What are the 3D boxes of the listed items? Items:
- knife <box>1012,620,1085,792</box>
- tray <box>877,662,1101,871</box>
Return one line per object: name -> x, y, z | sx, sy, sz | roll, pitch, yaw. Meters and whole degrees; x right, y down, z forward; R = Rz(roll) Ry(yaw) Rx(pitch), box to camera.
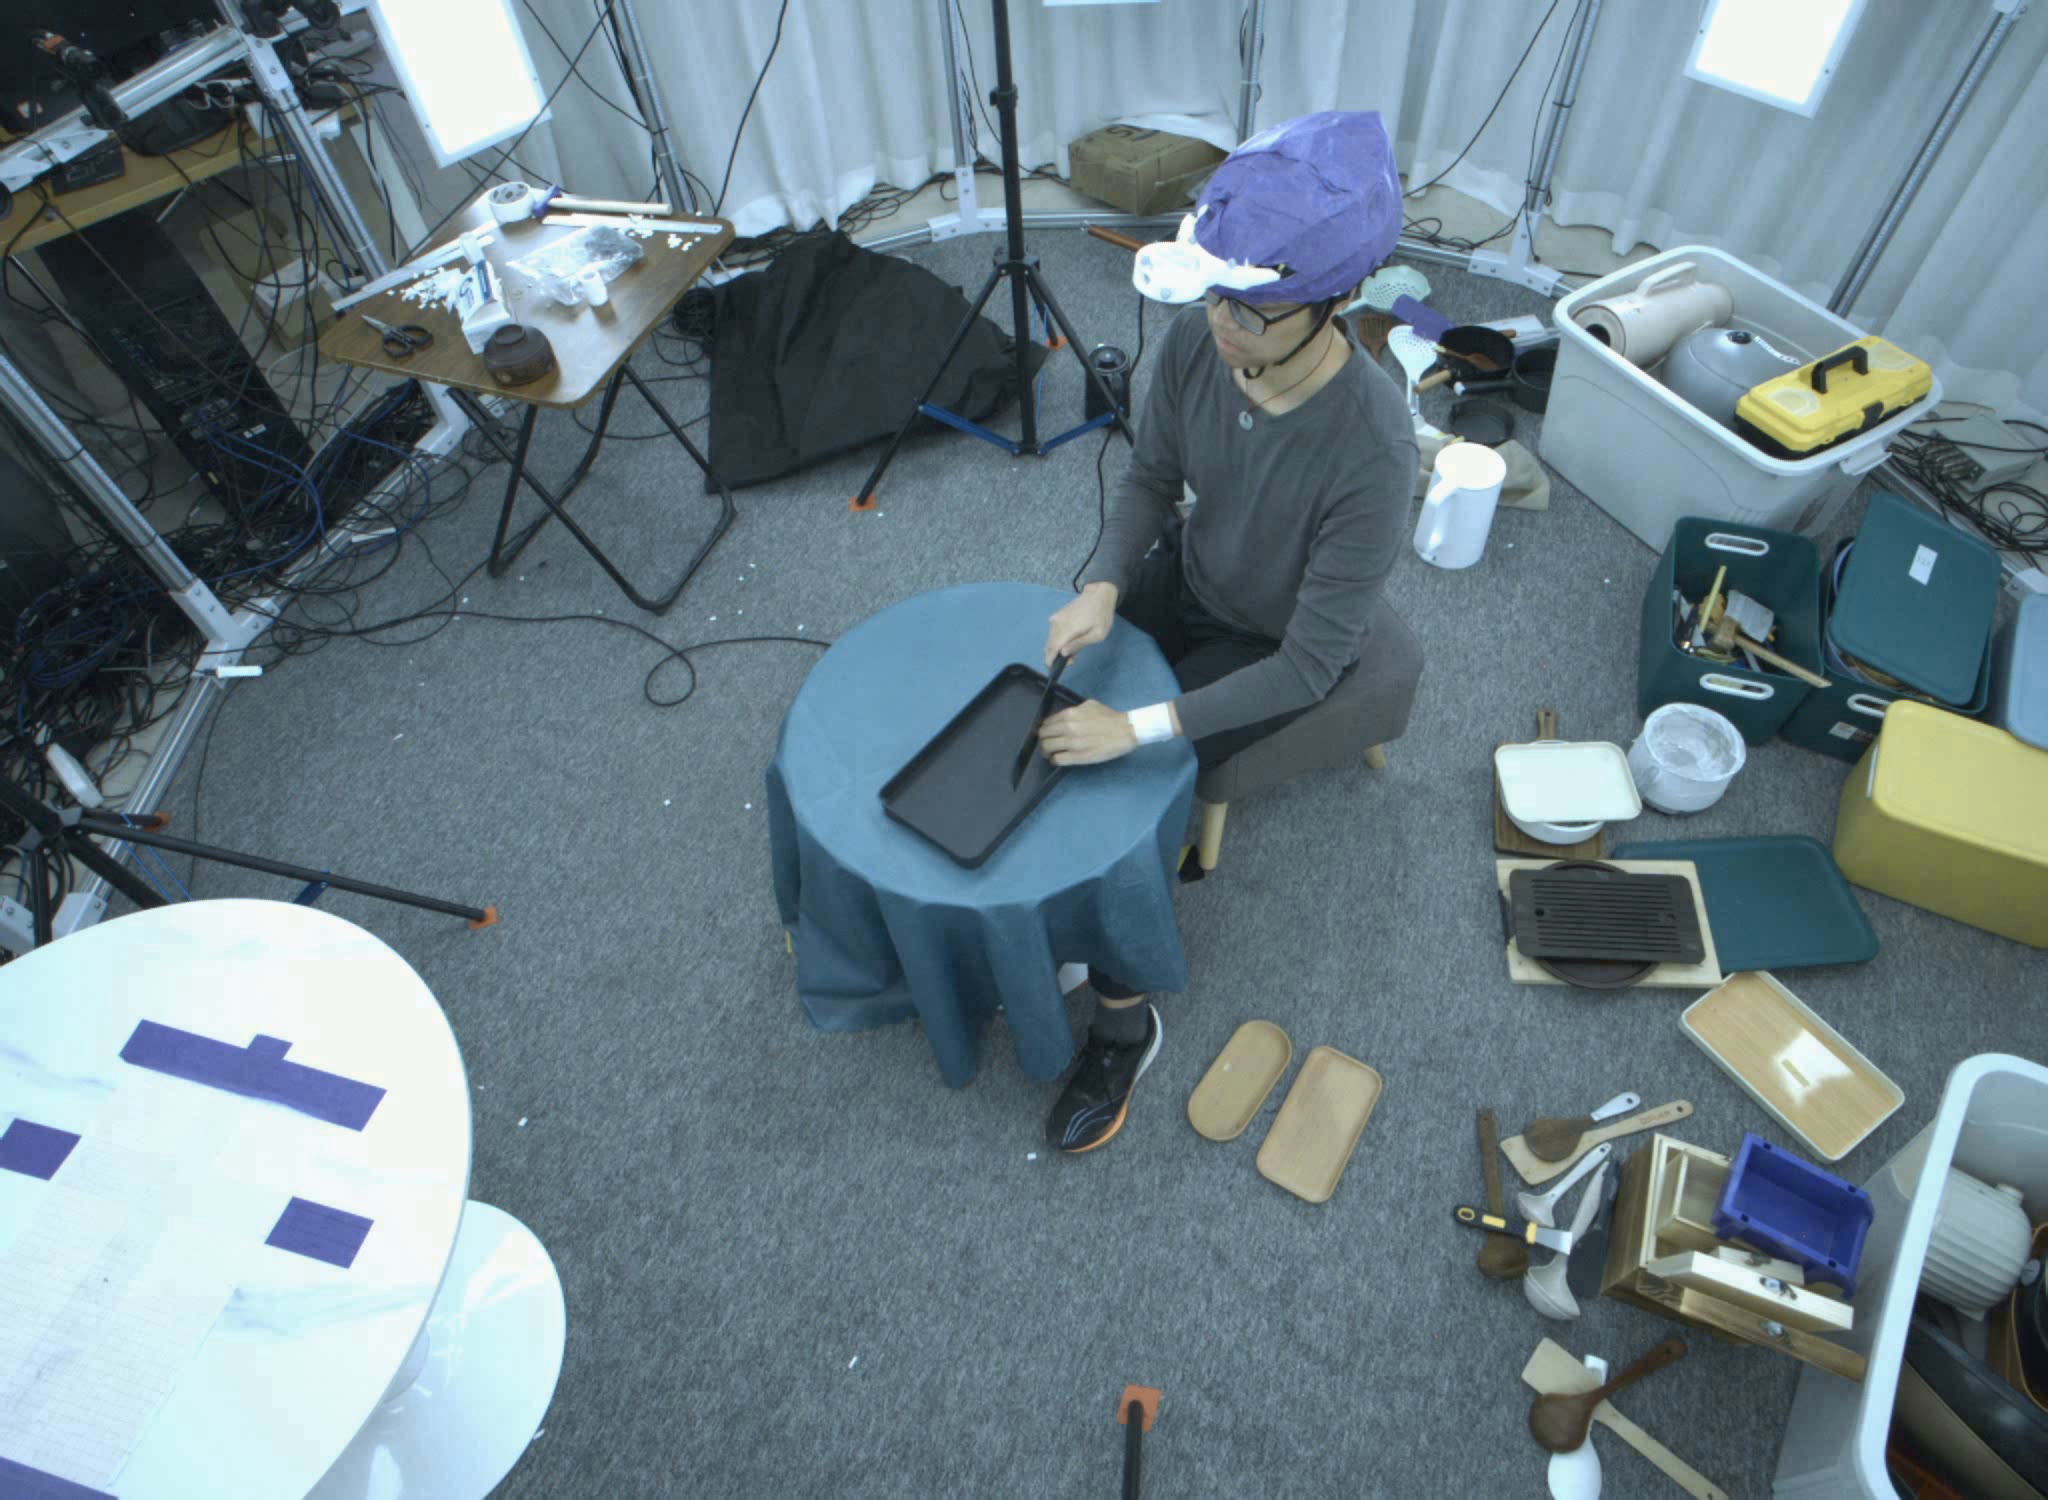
knife -> 0.034, -0.072, 1.765 | 0.020, 0.082, 0.301 | 15, 58, 13
tray -> -0.047, 0.017, 1.761 | 0.181, 0.037, 0.319 | 30, 61, 21
